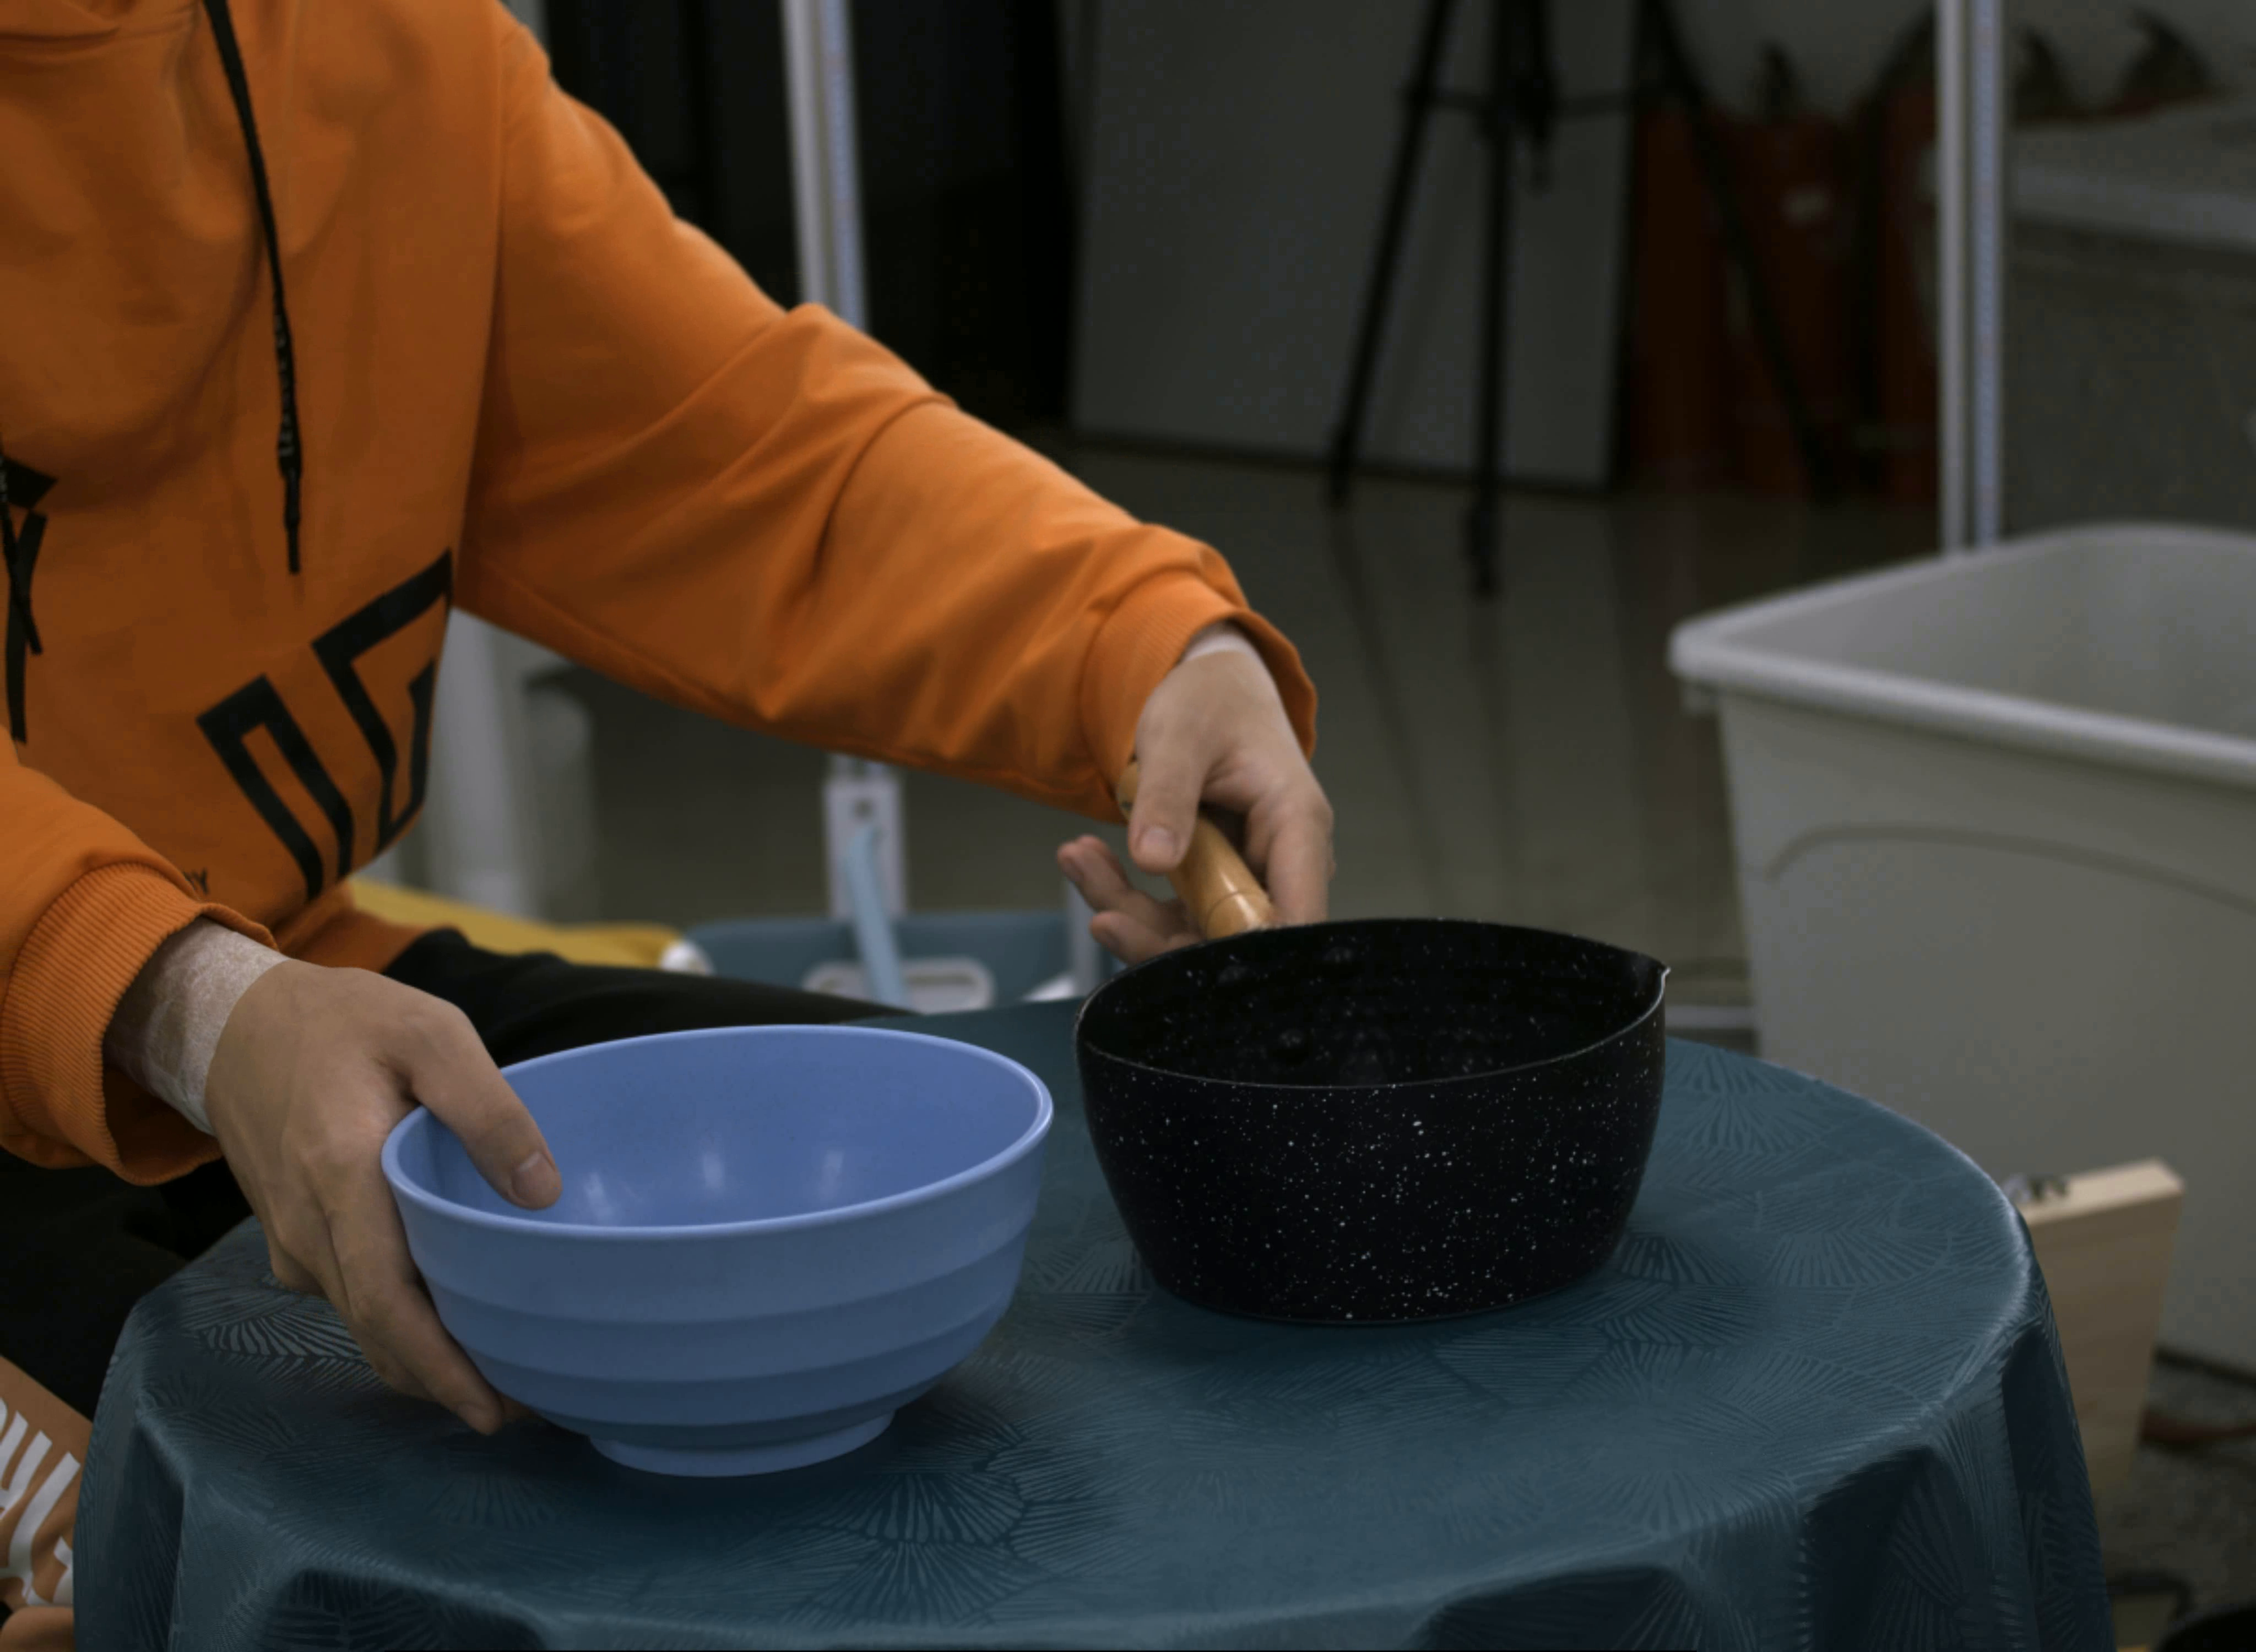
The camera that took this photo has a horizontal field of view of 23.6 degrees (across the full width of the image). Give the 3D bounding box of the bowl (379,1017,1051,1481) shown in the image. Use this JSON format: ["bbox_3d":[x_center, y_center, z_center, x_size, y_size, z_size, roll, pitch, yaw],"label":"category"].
[{"bbox_3d":[-0.116,0.129,1.571,0.194,0.096,0.197,-4,15,0],"label":"bowl"}]

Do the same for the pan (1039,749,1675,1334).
[{"bbox_3d":[0.054,0.065,1.757,0.203,0.109,0.345,-9,16,-15],"label":"pan"}]
